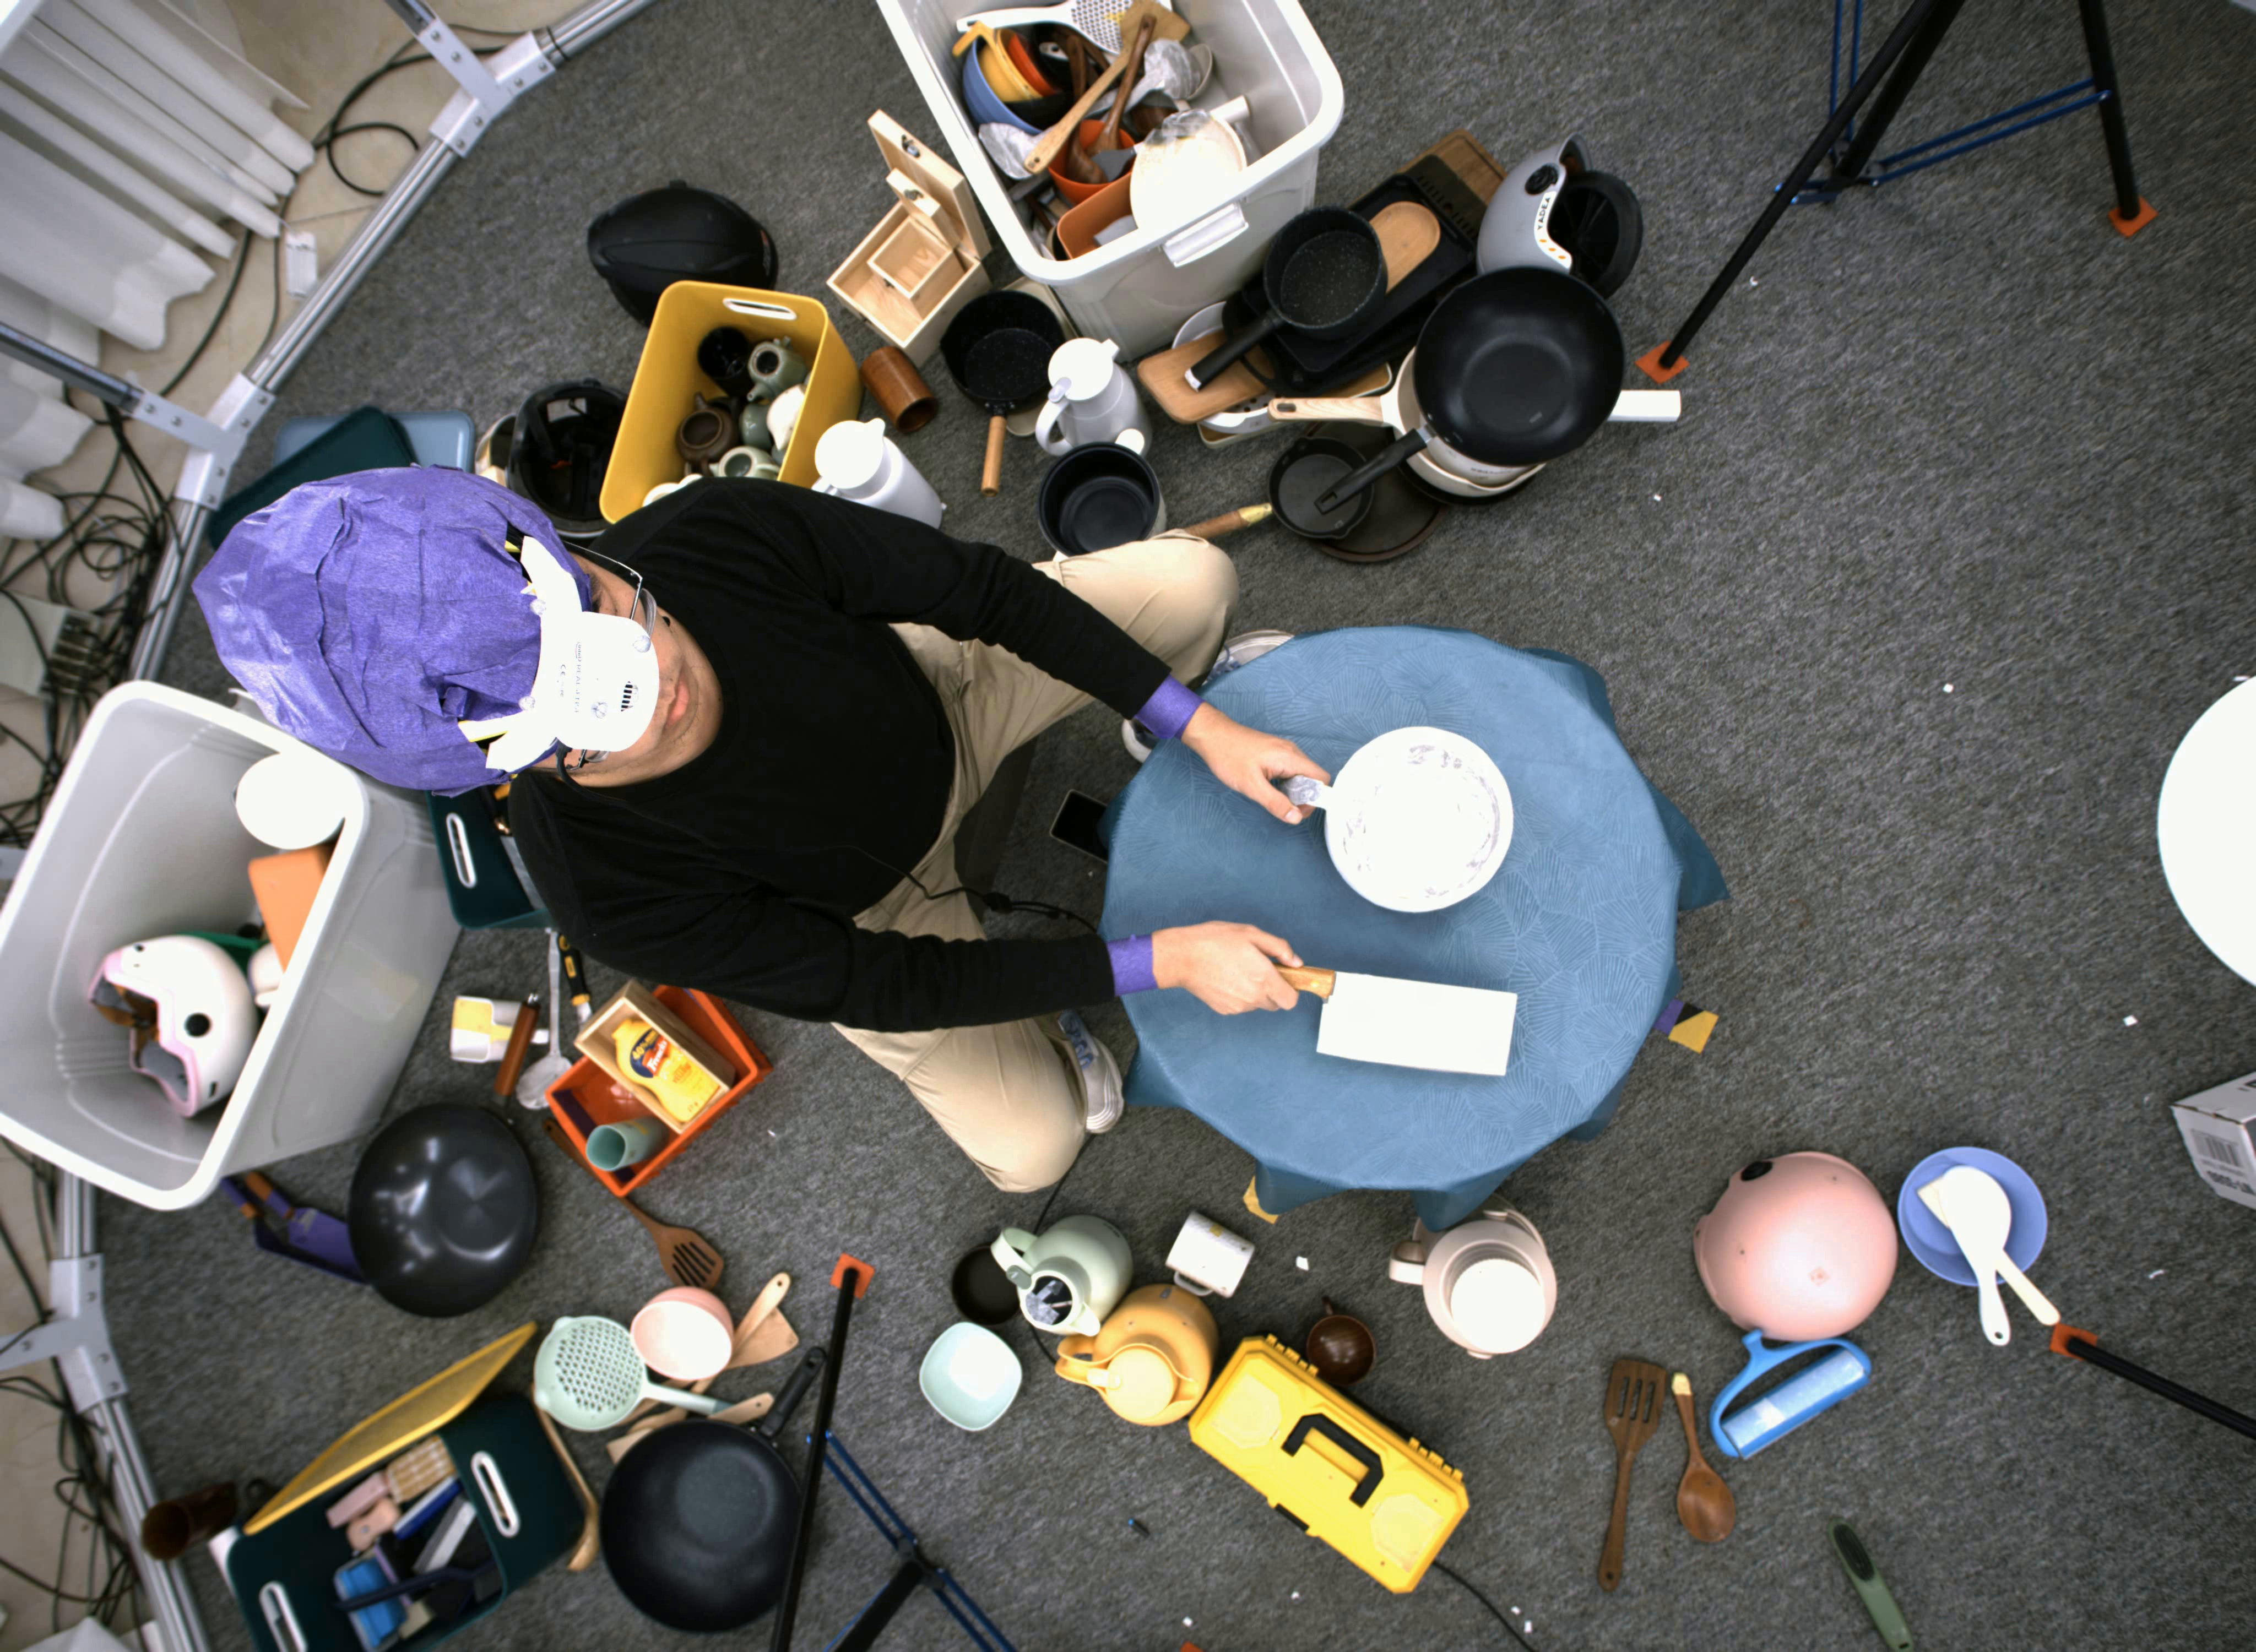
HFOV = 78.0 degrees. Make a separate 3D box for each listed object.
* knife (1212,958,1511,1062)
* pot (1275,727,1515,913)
[{"bbox_3d":[0.234,0.188,1.407,0.306,0.020,0.094,7,107,9],"label":"knife"},{"bbox_3d":[0.262,-0.010,1.391,0.234,0.137,0.178,14,88,7],"label":"pot"}]
